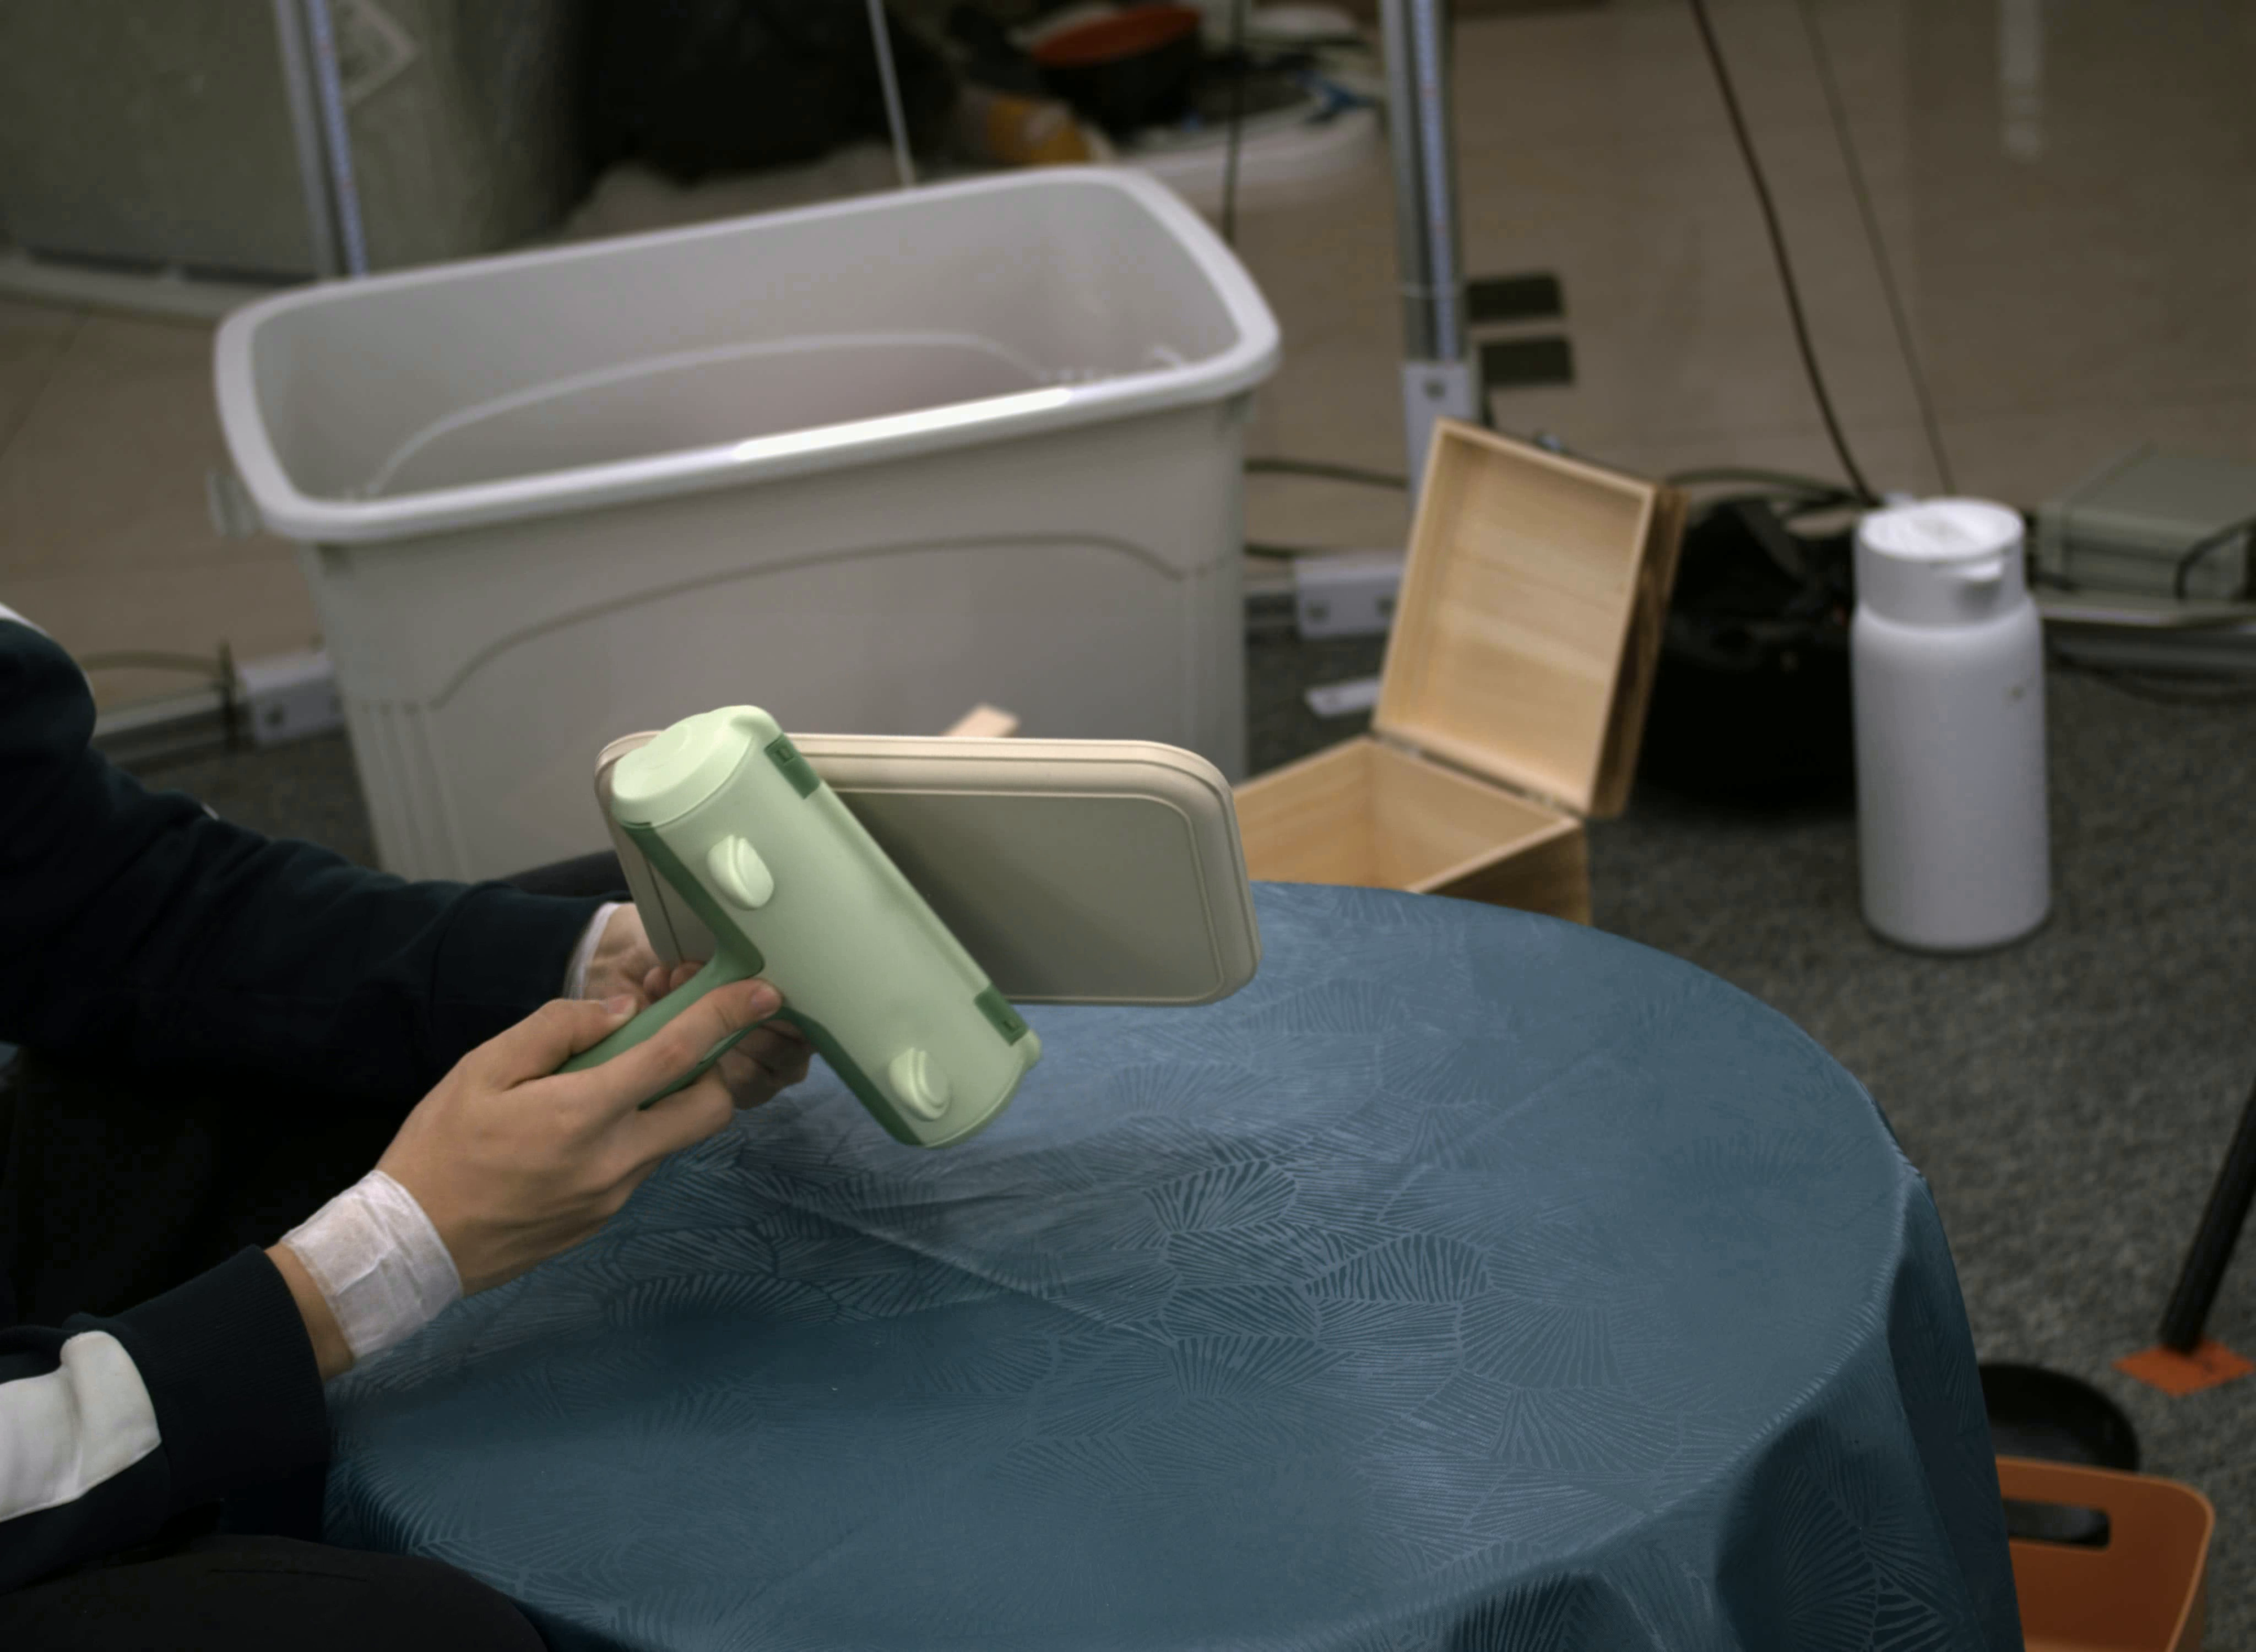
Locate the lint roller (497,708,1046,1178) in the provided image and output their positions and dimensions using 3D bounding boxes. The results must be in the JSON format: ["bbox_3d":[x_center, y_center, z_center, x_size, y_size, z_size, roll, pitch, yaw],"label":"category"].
[{"bbox_3d":[-0.150,0.077,2.057,0.183,0.201,0.081,-40,32,0],"label":"lint roller"}]

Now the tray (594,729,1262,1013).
[{"bbox_3d":[-0.074,0.020,2.110,0.239,0.174,0.017,1,57,9],"label":"tray"}]
